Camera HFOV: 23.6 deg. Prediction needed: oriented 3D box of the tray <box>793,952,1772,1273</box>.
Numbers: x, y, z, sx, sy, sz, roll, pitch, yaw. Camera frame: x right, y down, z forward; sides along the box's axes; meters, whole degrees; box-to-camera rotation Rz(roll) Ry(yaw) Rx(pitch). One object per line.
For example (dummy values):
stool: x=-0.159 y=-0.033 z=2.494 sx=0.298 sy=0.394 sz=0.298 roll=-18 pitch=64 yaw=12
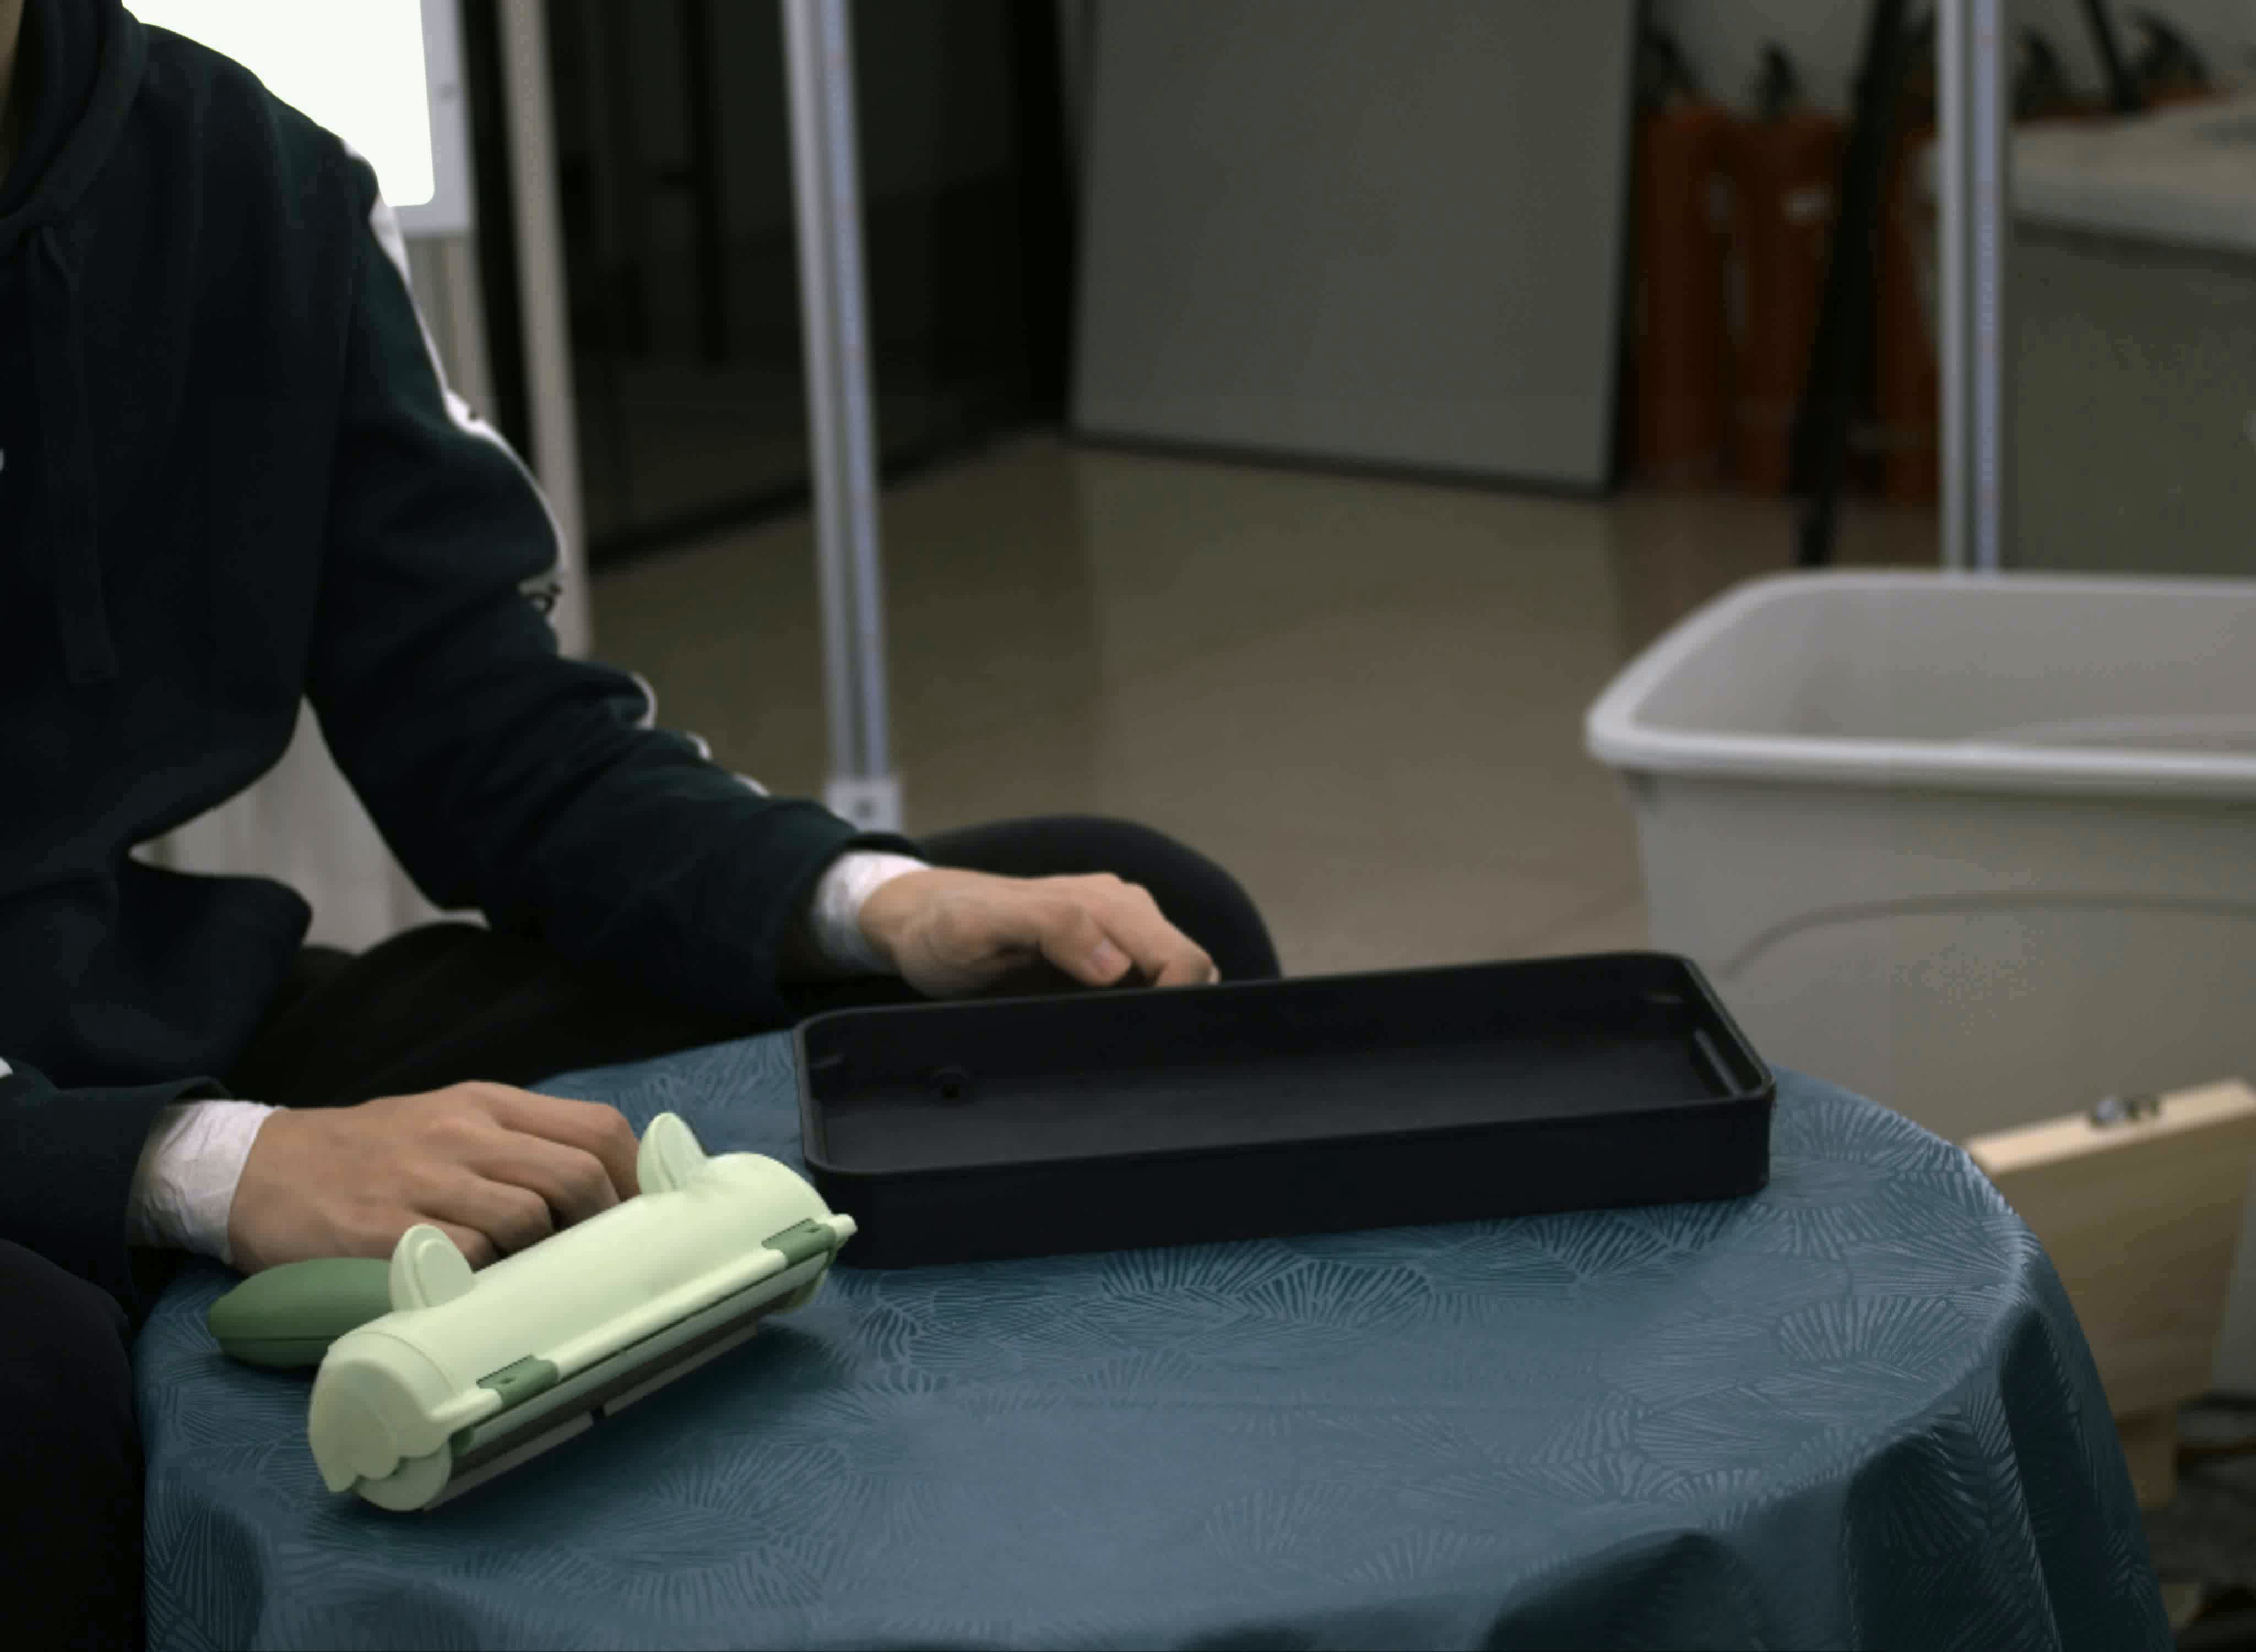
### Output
tray: x=0.047 y=0.093 z=1.797 sx=0.313 sy=0.037 sz=0.185 roll=-5 pitch=14 yaw=-2

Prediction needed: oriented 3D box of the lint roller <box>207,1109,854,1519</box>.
lint roller: x=-0.207 y=0.133 z=1.617 sx=0.184 sy=0.083 sz=0.195 roll=9 pitch=19 yaw=33
